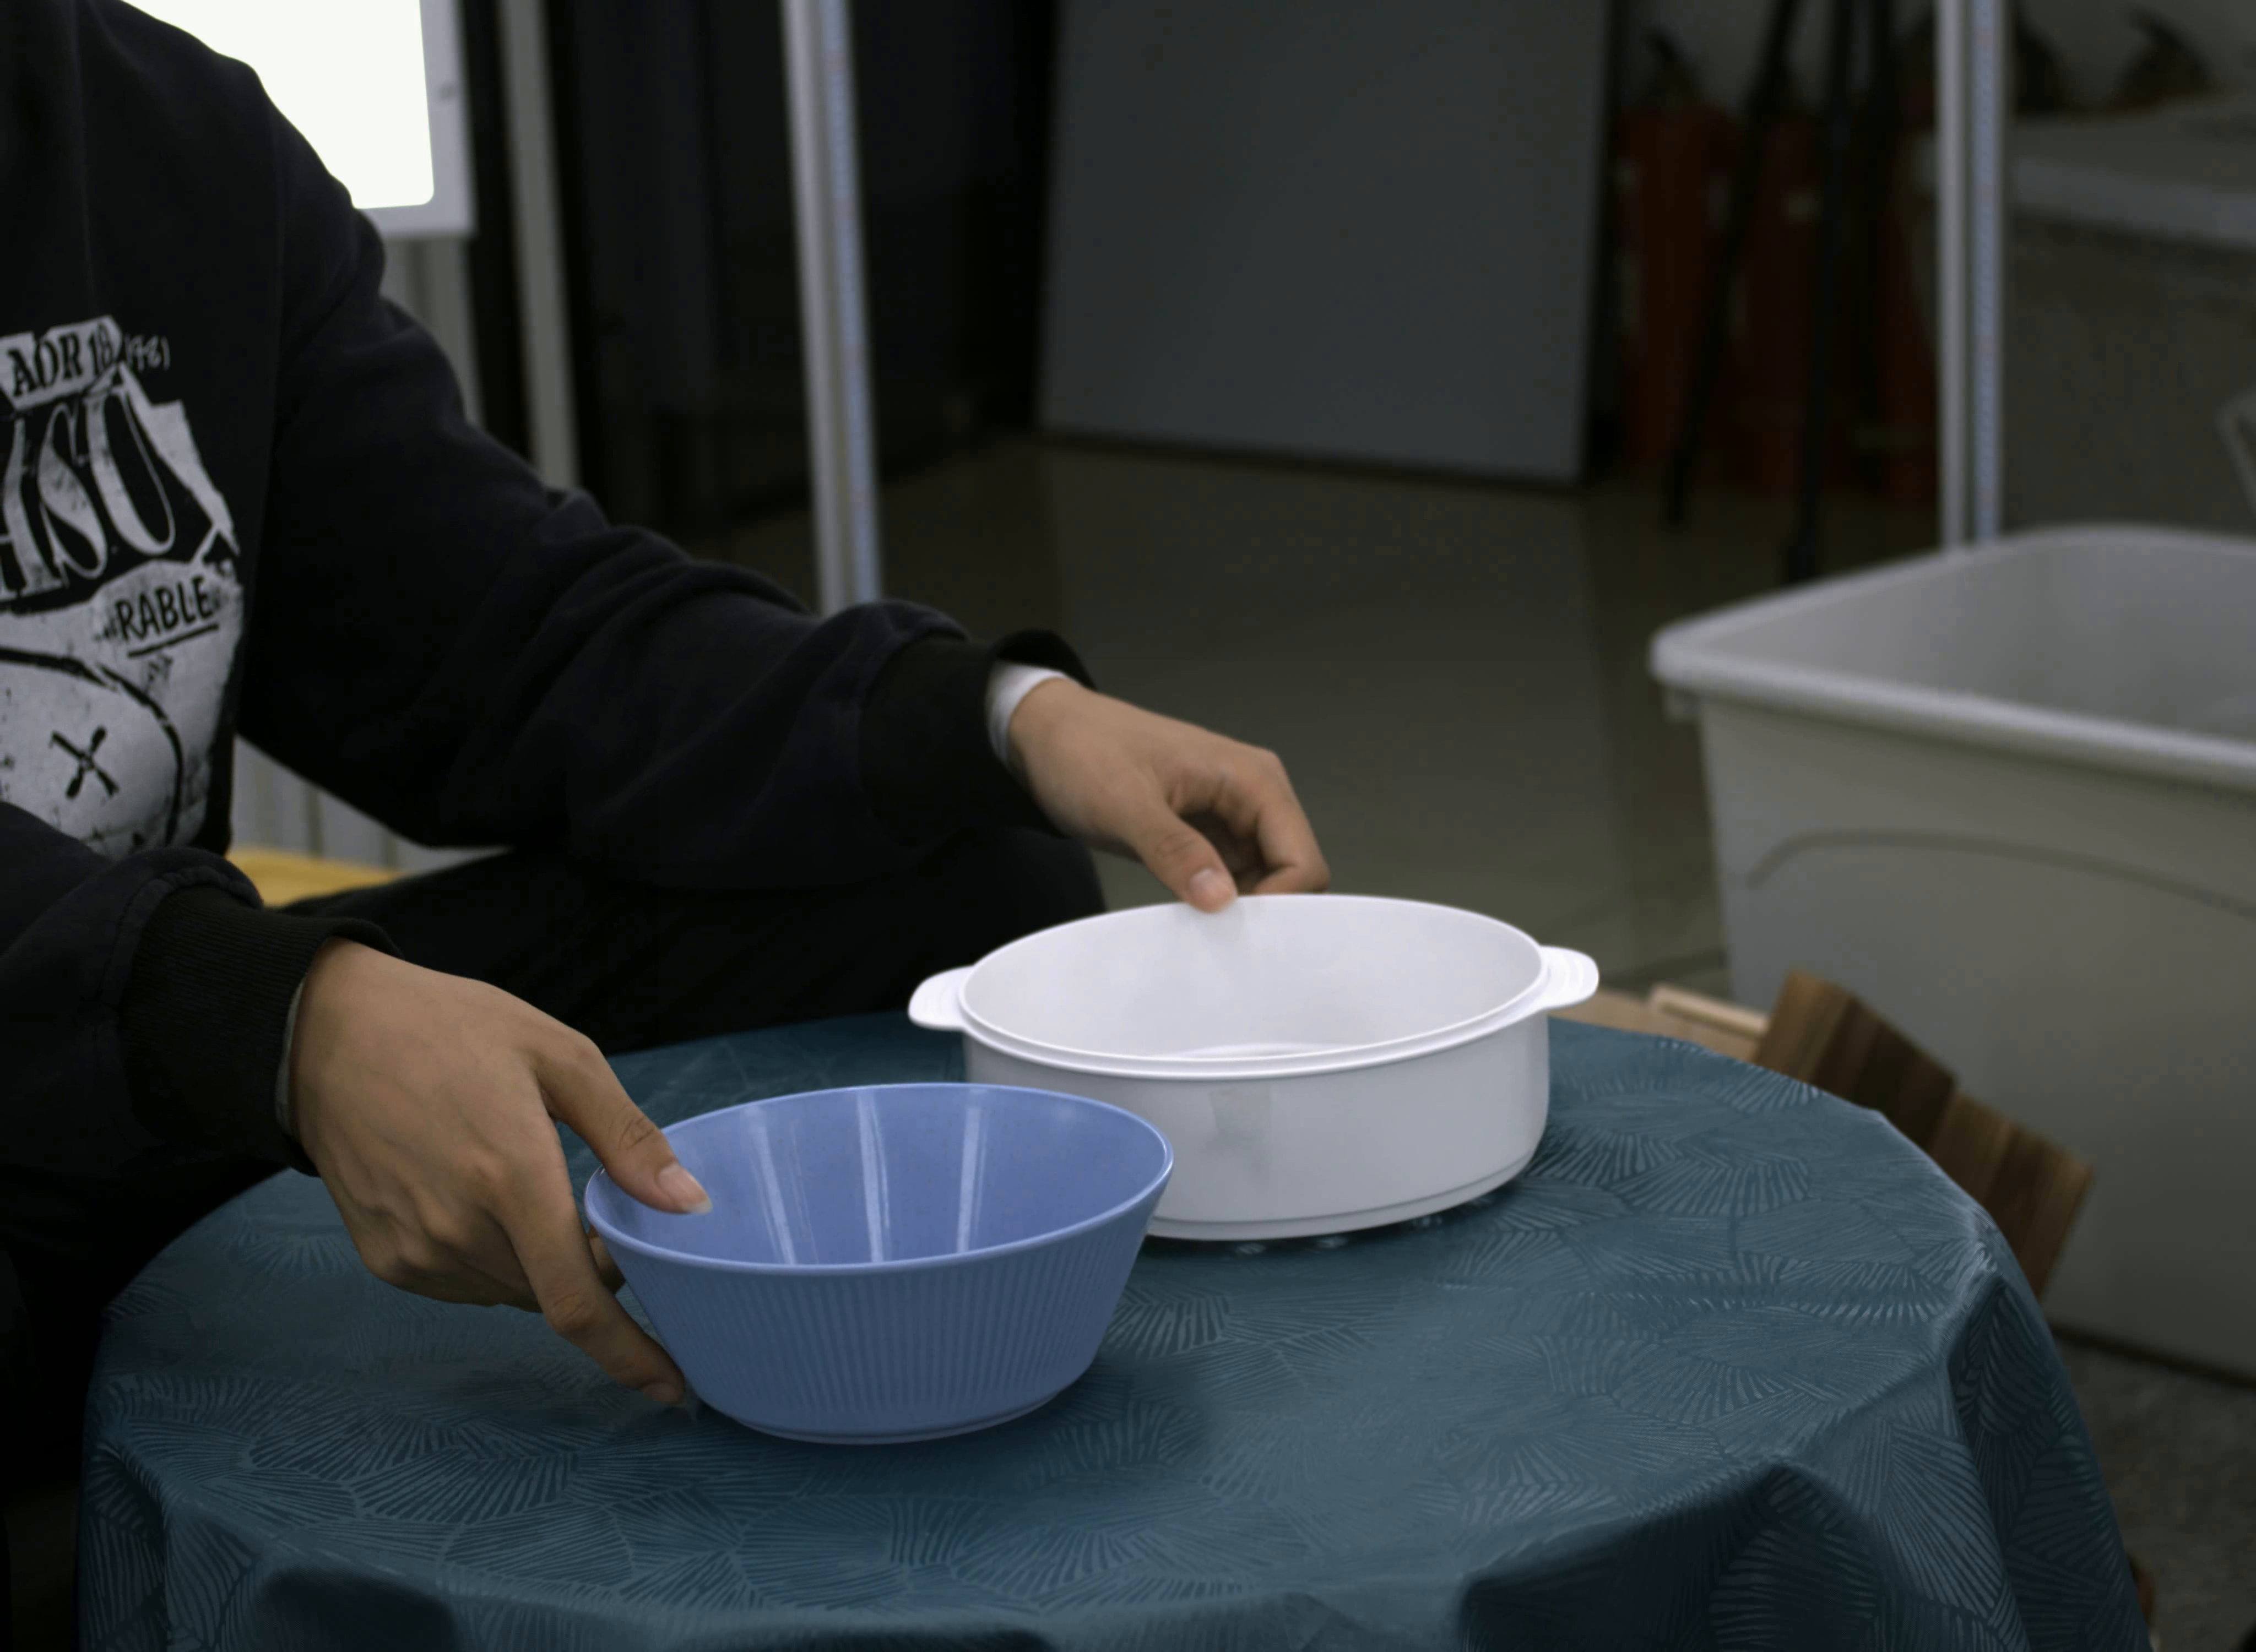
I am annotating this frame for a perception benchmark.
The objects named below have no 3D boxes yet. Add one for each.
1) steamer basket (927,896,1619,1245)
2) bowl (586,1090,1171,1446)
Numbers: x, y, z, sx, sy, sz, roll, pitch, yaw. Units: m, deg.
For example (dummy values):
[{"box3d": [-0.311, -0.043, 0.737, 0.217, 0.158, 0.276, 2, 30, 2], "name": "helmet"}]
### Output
[{"box3d": [0.048, 0.080, 1.780, 0.228, 0.070, 0.201, 0, 14, 5], "name": "steamer basket"}, {"box3d": [-0.071, 0.133, 1.596, 0.174, 0.071, 0.176, -4, 13, 0], "name": "bowl"}]
